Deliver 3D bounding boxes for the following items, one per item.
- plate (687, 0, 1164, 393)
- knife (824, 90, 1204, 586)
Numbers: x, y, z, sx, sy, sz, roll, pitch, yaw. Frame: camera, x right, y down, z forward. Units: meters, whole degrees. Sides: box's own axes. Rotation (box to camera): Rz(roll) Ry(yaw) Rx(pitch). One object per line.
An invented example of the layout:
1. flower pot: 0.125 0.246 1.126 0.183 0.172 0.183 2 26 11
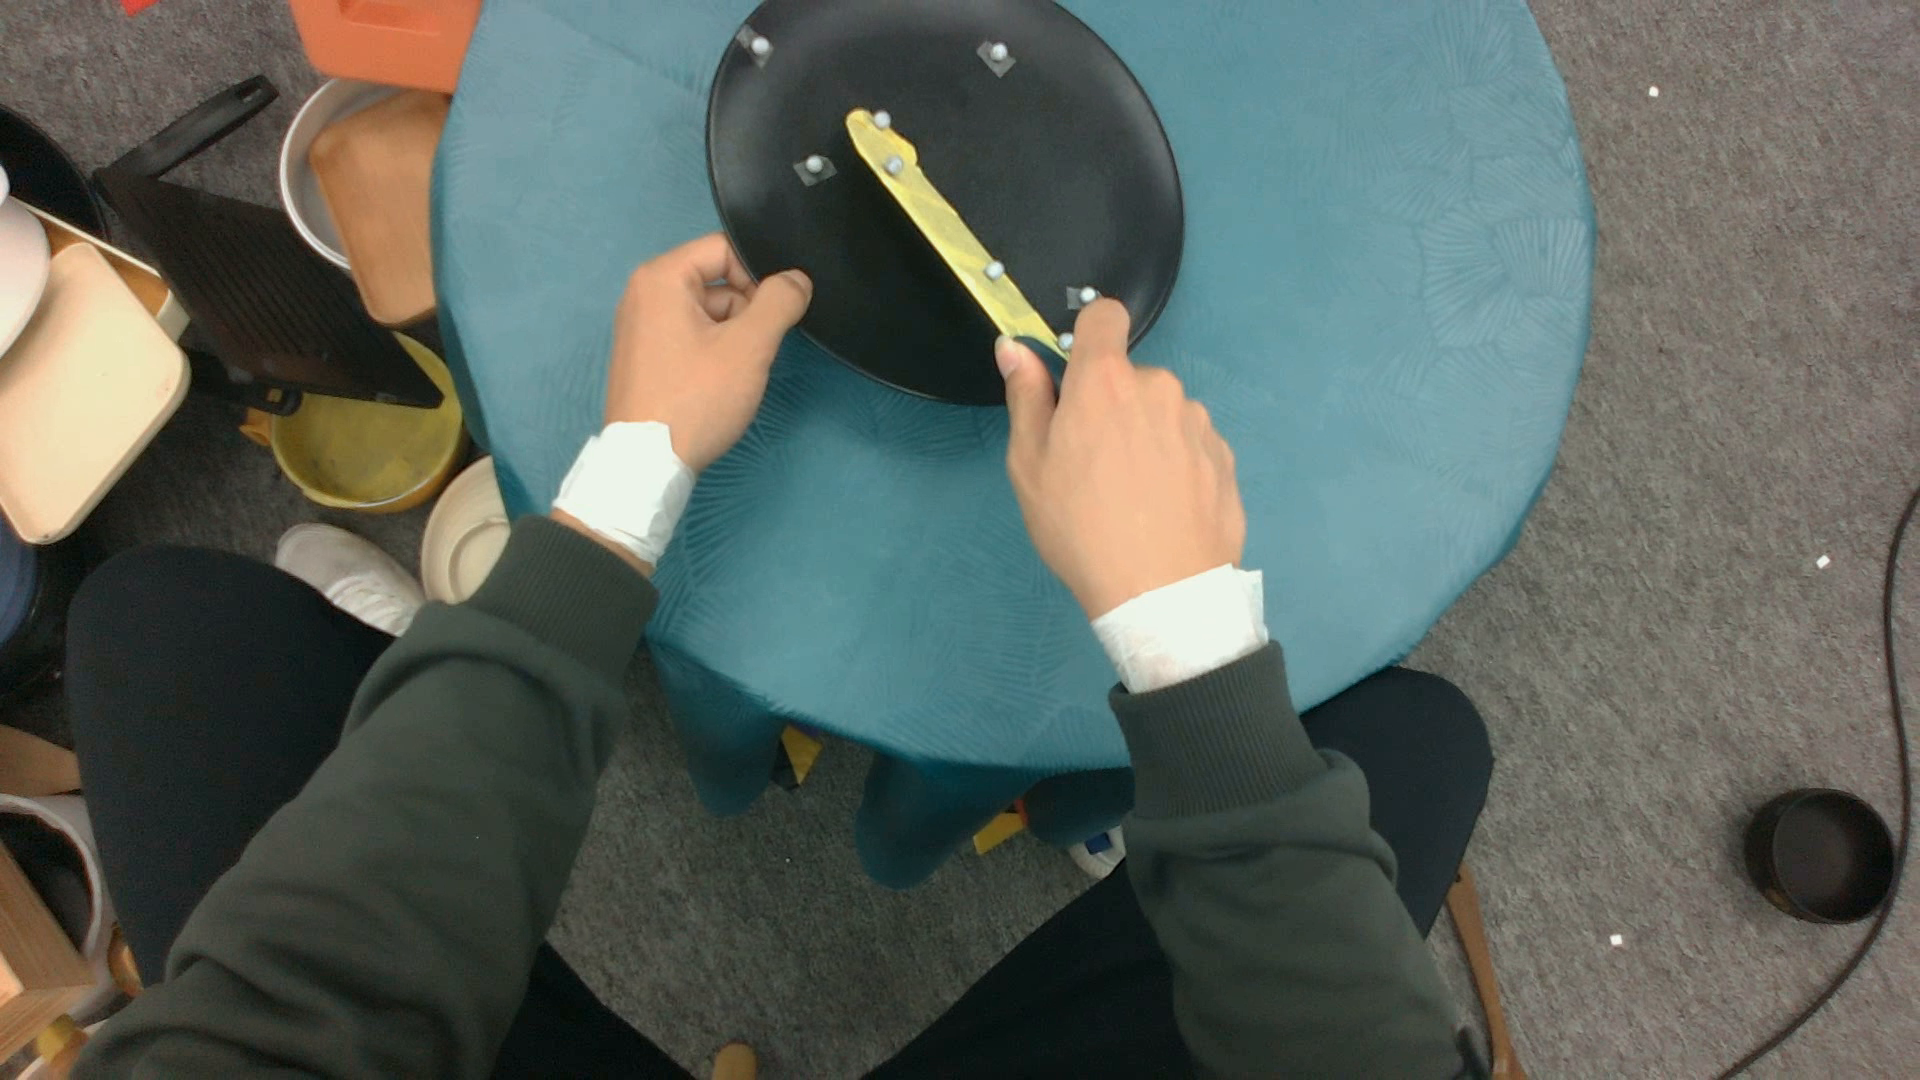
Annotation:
1. plate: -0.013 -0.183 0.677 0.245 0.023 0.245 6 71 -18
2. knife: 0.020 -0.099 0.616 0.027 0.081 0.290 -41 73 22
